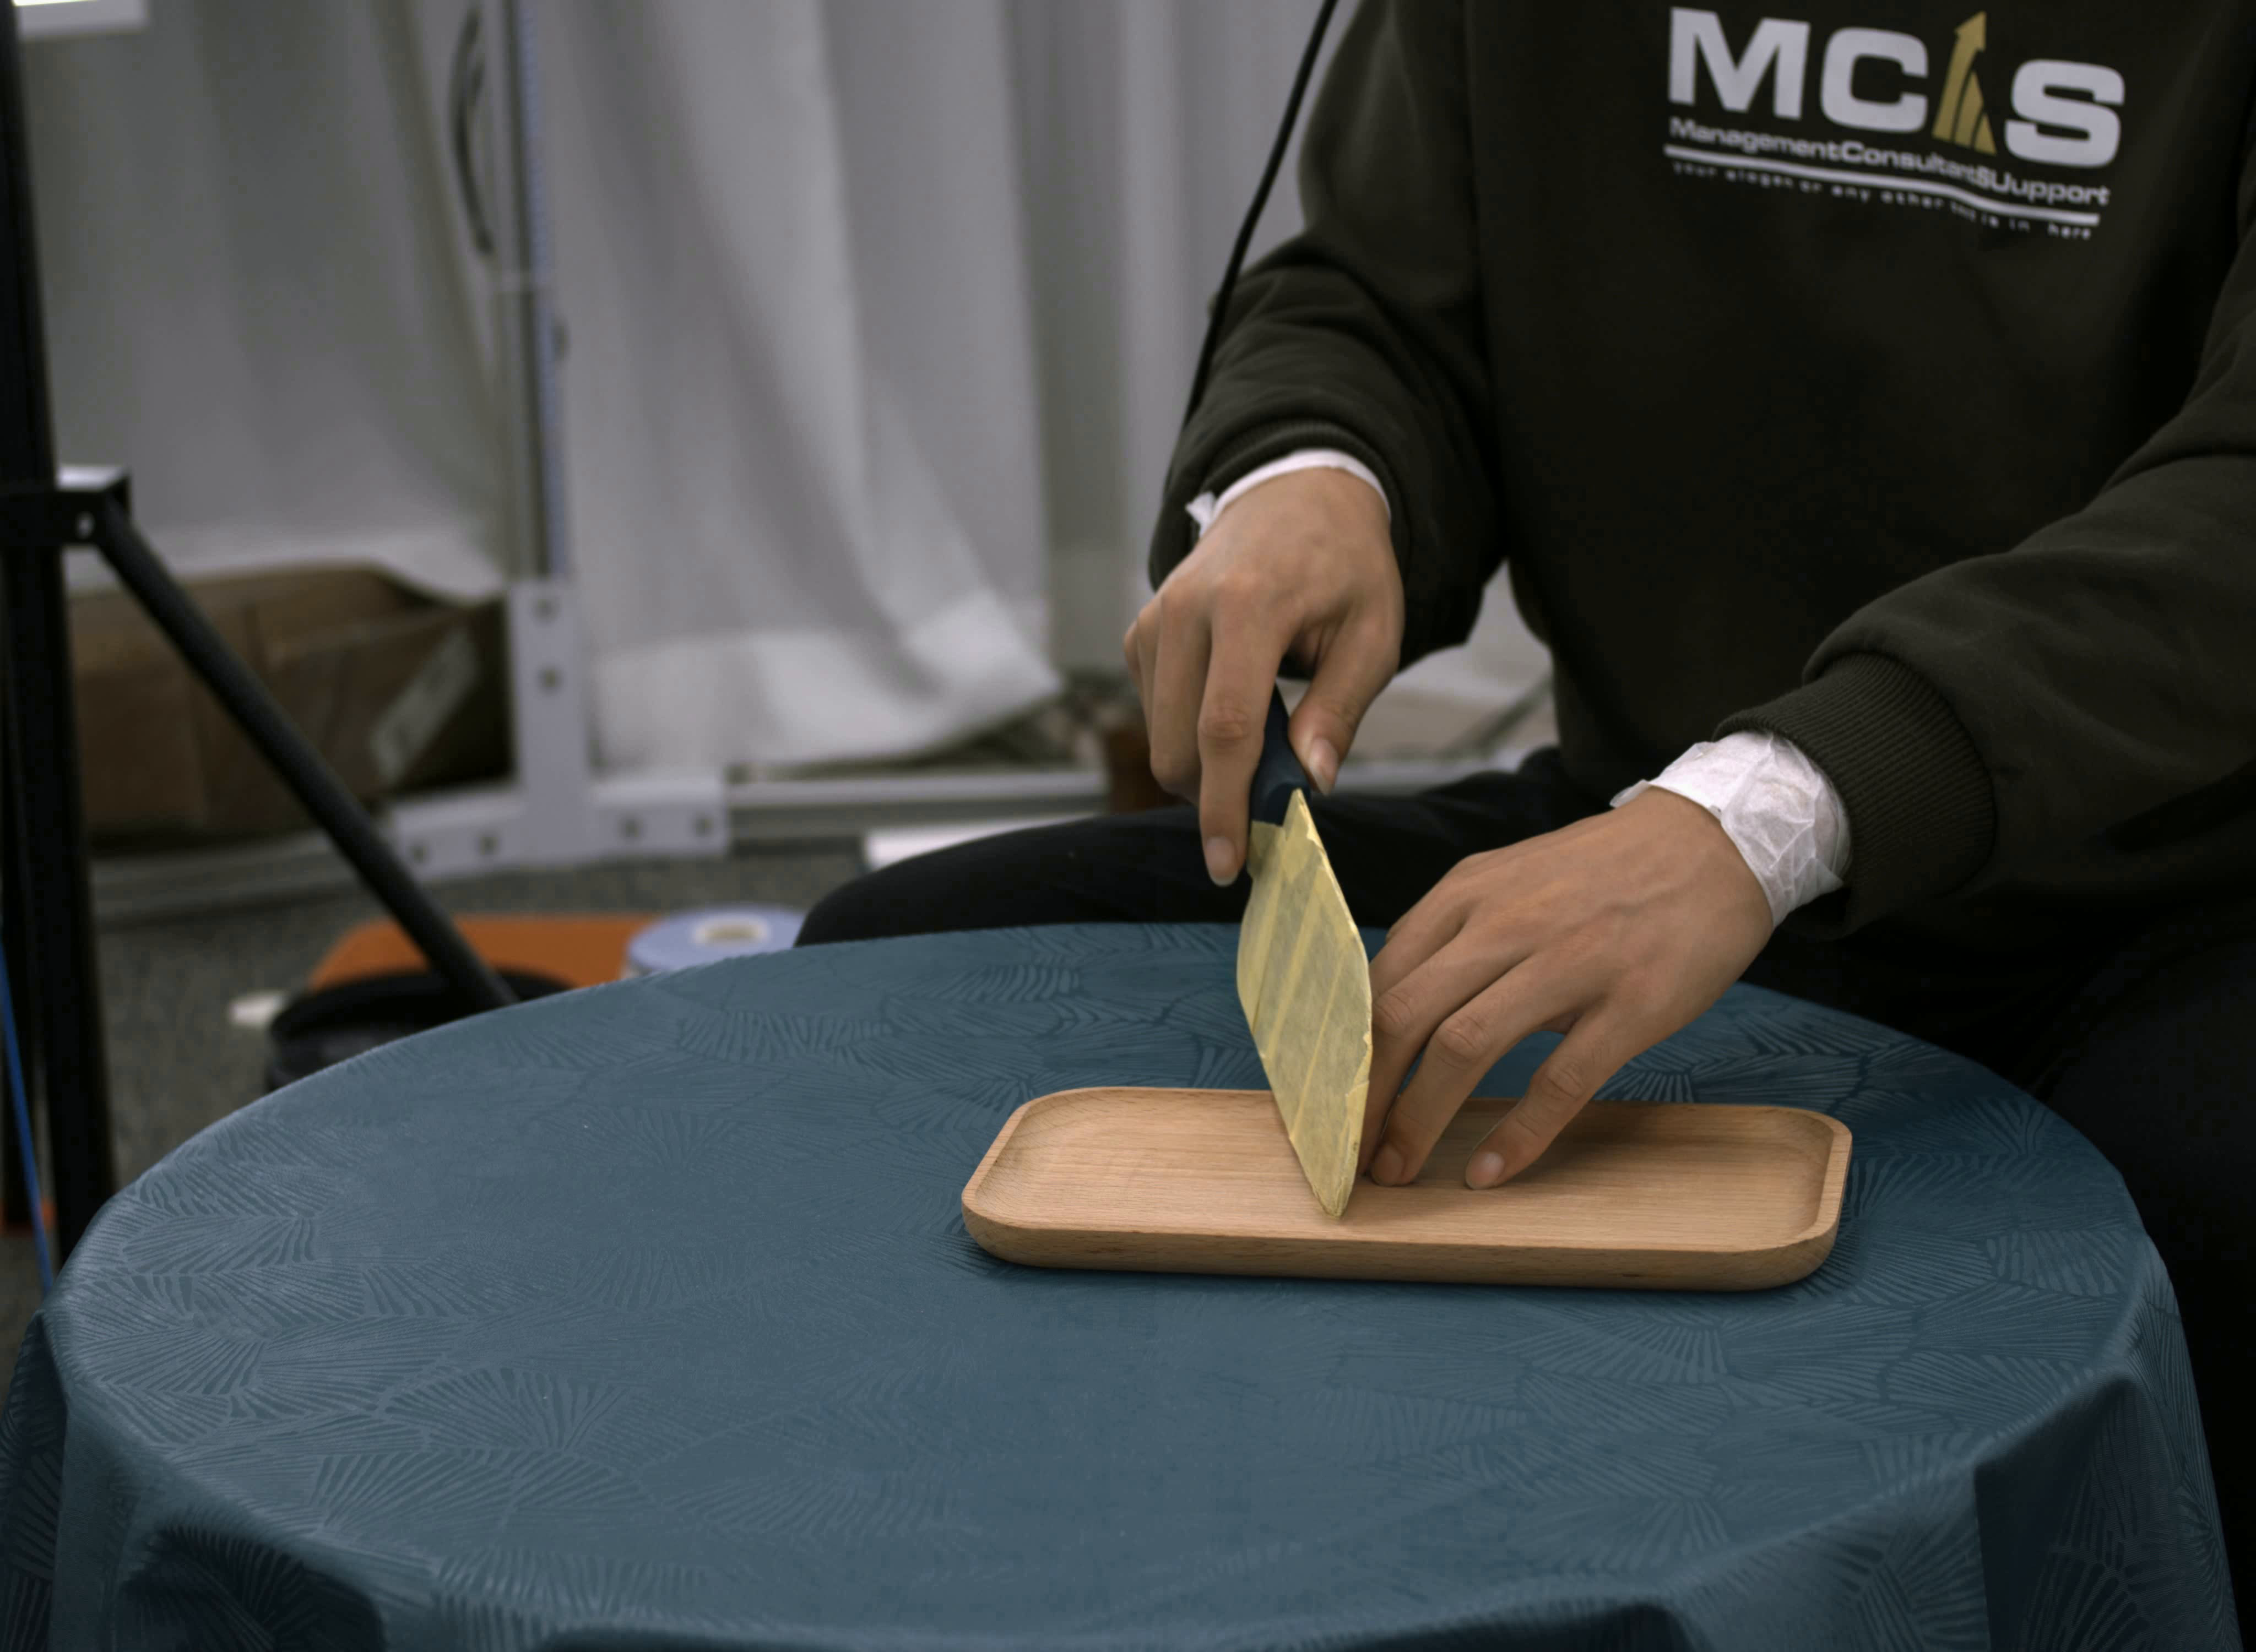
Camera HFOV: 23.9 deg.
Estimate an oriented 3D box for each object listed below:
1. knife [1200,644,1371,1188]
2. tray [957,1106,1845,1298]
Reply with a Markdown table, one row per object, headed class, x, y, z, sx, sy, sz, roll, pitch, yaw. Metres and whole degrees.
| class | x | y | z | sx | sy | sz | roll | pitch | yaw |
| --- | --- | --- | --- | --- | --- | --- | --- | --- | --- |
| knife | 0.046 | 0.023 | 1.627 | 0.027 | 0.081 | 0.293 | 13 | 26 | -13 |
| tray | 0.080 | 0.109 | 1.531 | 0.252 | 0.023 | 0.129 | -2 | 12 | 14 |
